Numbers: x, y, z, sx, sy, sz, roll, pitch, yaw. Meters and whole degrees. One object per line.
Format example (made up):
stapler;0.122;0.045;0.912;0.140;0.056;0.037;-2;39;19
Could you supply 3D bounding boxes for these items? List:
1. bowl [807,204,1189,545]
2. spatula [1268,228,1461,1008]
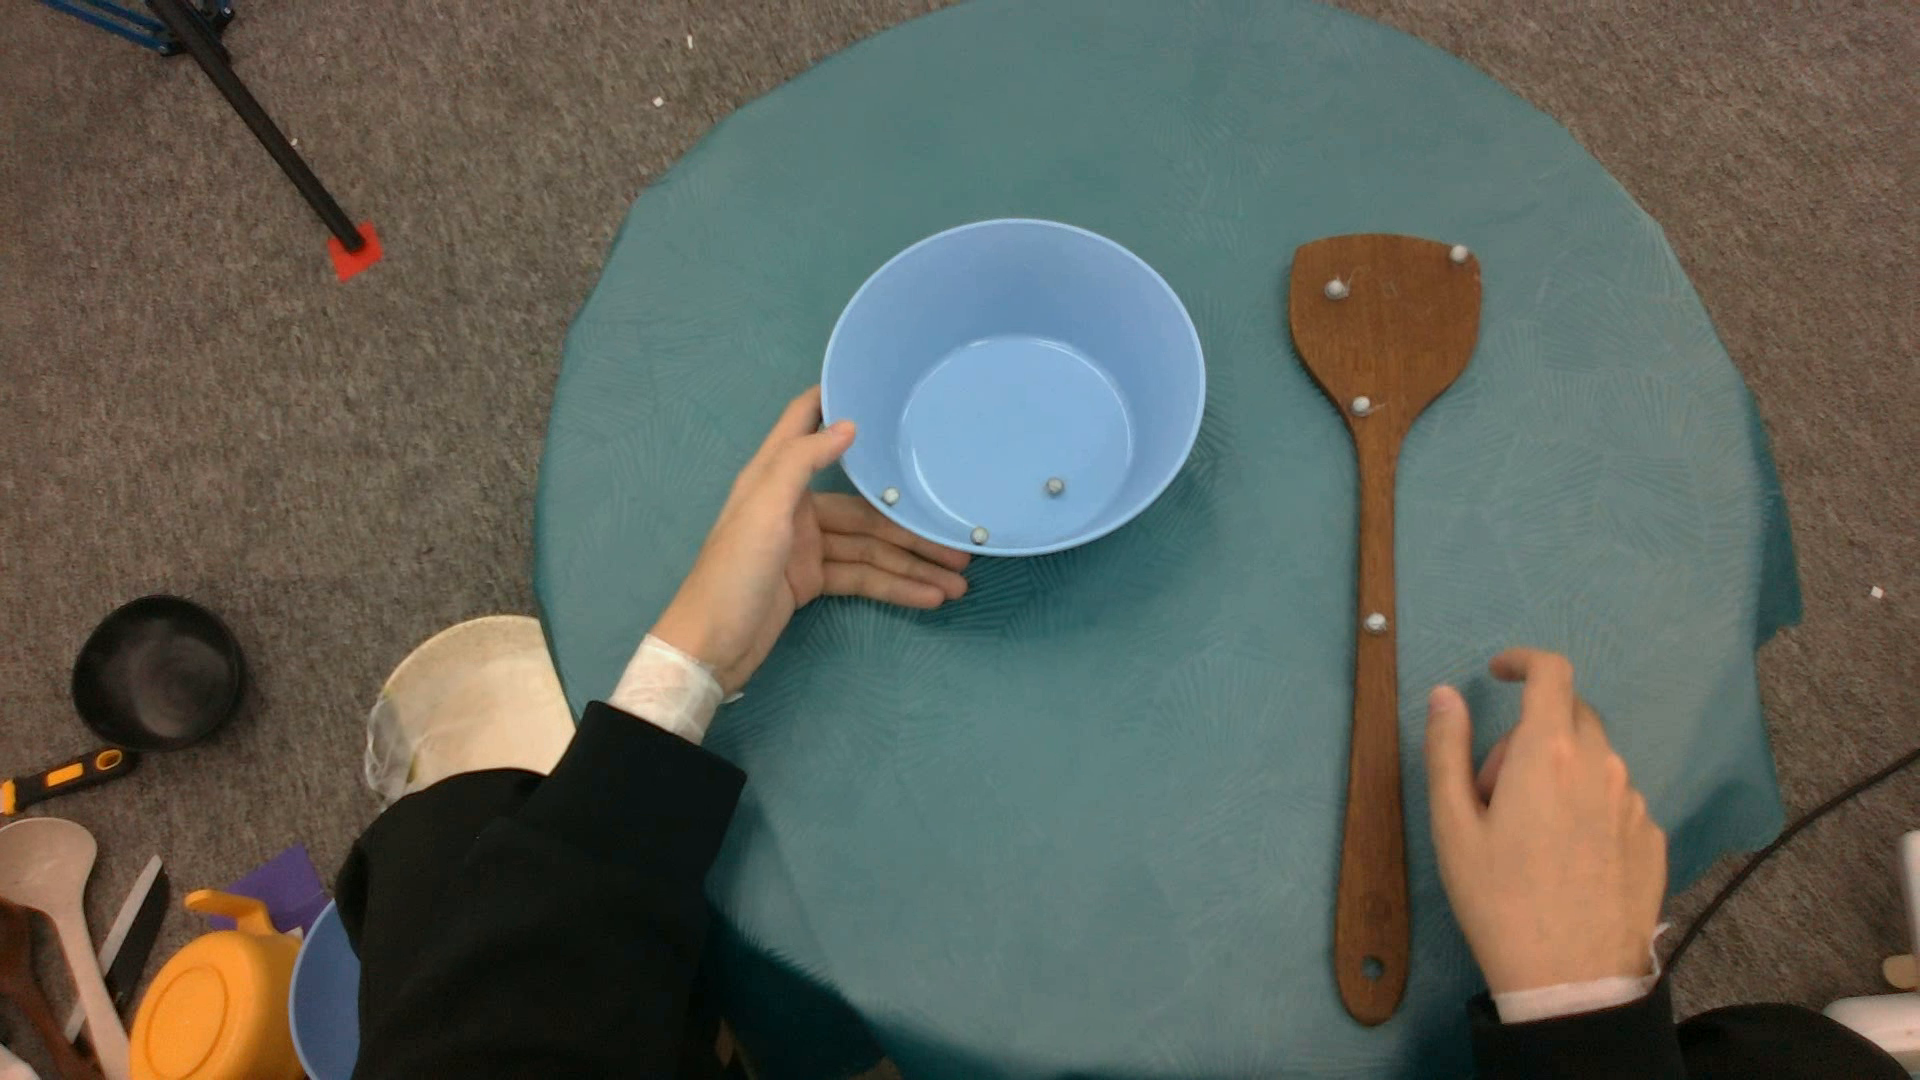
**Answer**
bowl;0.019;-0.069;0.659;0.176;0.070;0.176;-1;68;3
spatula;0.187;0.016;0.644;0.096;0.016;0.387;5;67;6
